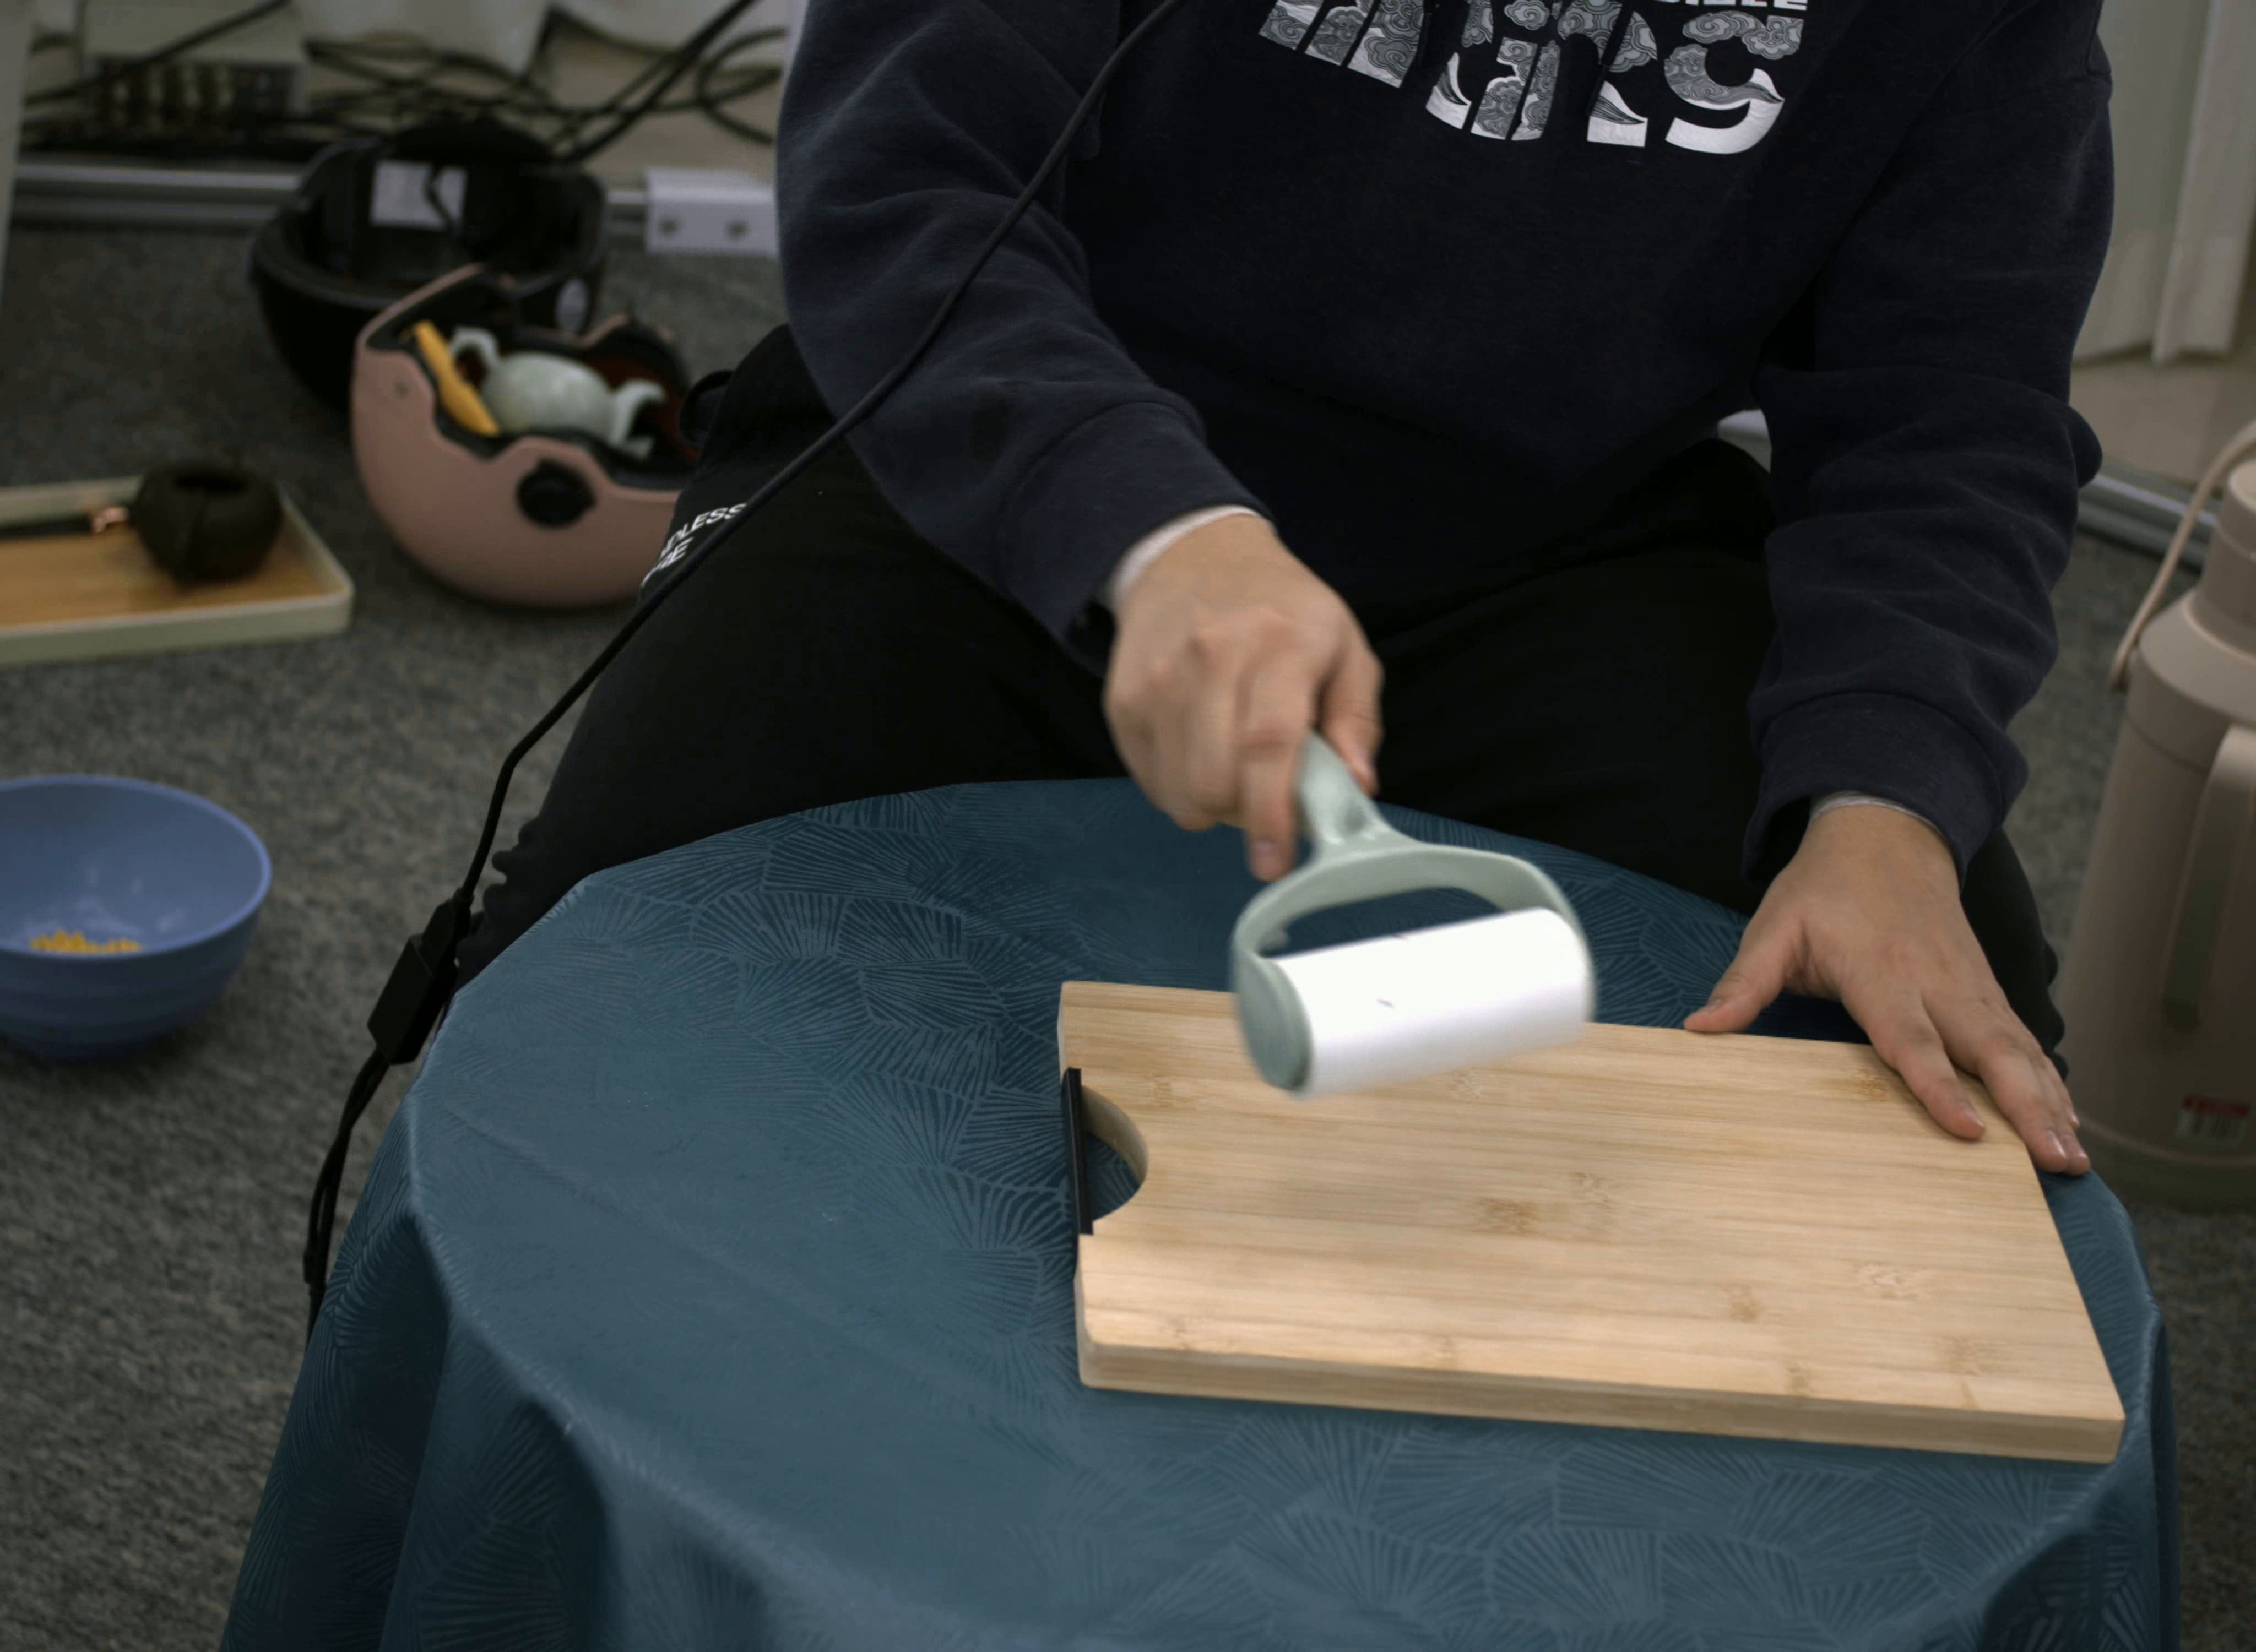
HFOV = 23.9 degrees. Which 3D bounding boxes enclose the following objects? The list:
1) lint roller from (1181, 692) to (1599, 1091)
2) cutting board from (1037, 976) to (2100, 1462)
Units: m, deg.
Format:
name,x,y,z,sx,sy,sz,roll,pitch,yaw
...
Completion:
name,x,y,z,sx,sy,sz,roll,pitch,yaw
lint roller,0.069,0.007,1.782,0.116,0.048,0.199,-12,44,-19
cutting board,0.143,0.131,1.809,0.347,0.023,0.252,4,26,-5
